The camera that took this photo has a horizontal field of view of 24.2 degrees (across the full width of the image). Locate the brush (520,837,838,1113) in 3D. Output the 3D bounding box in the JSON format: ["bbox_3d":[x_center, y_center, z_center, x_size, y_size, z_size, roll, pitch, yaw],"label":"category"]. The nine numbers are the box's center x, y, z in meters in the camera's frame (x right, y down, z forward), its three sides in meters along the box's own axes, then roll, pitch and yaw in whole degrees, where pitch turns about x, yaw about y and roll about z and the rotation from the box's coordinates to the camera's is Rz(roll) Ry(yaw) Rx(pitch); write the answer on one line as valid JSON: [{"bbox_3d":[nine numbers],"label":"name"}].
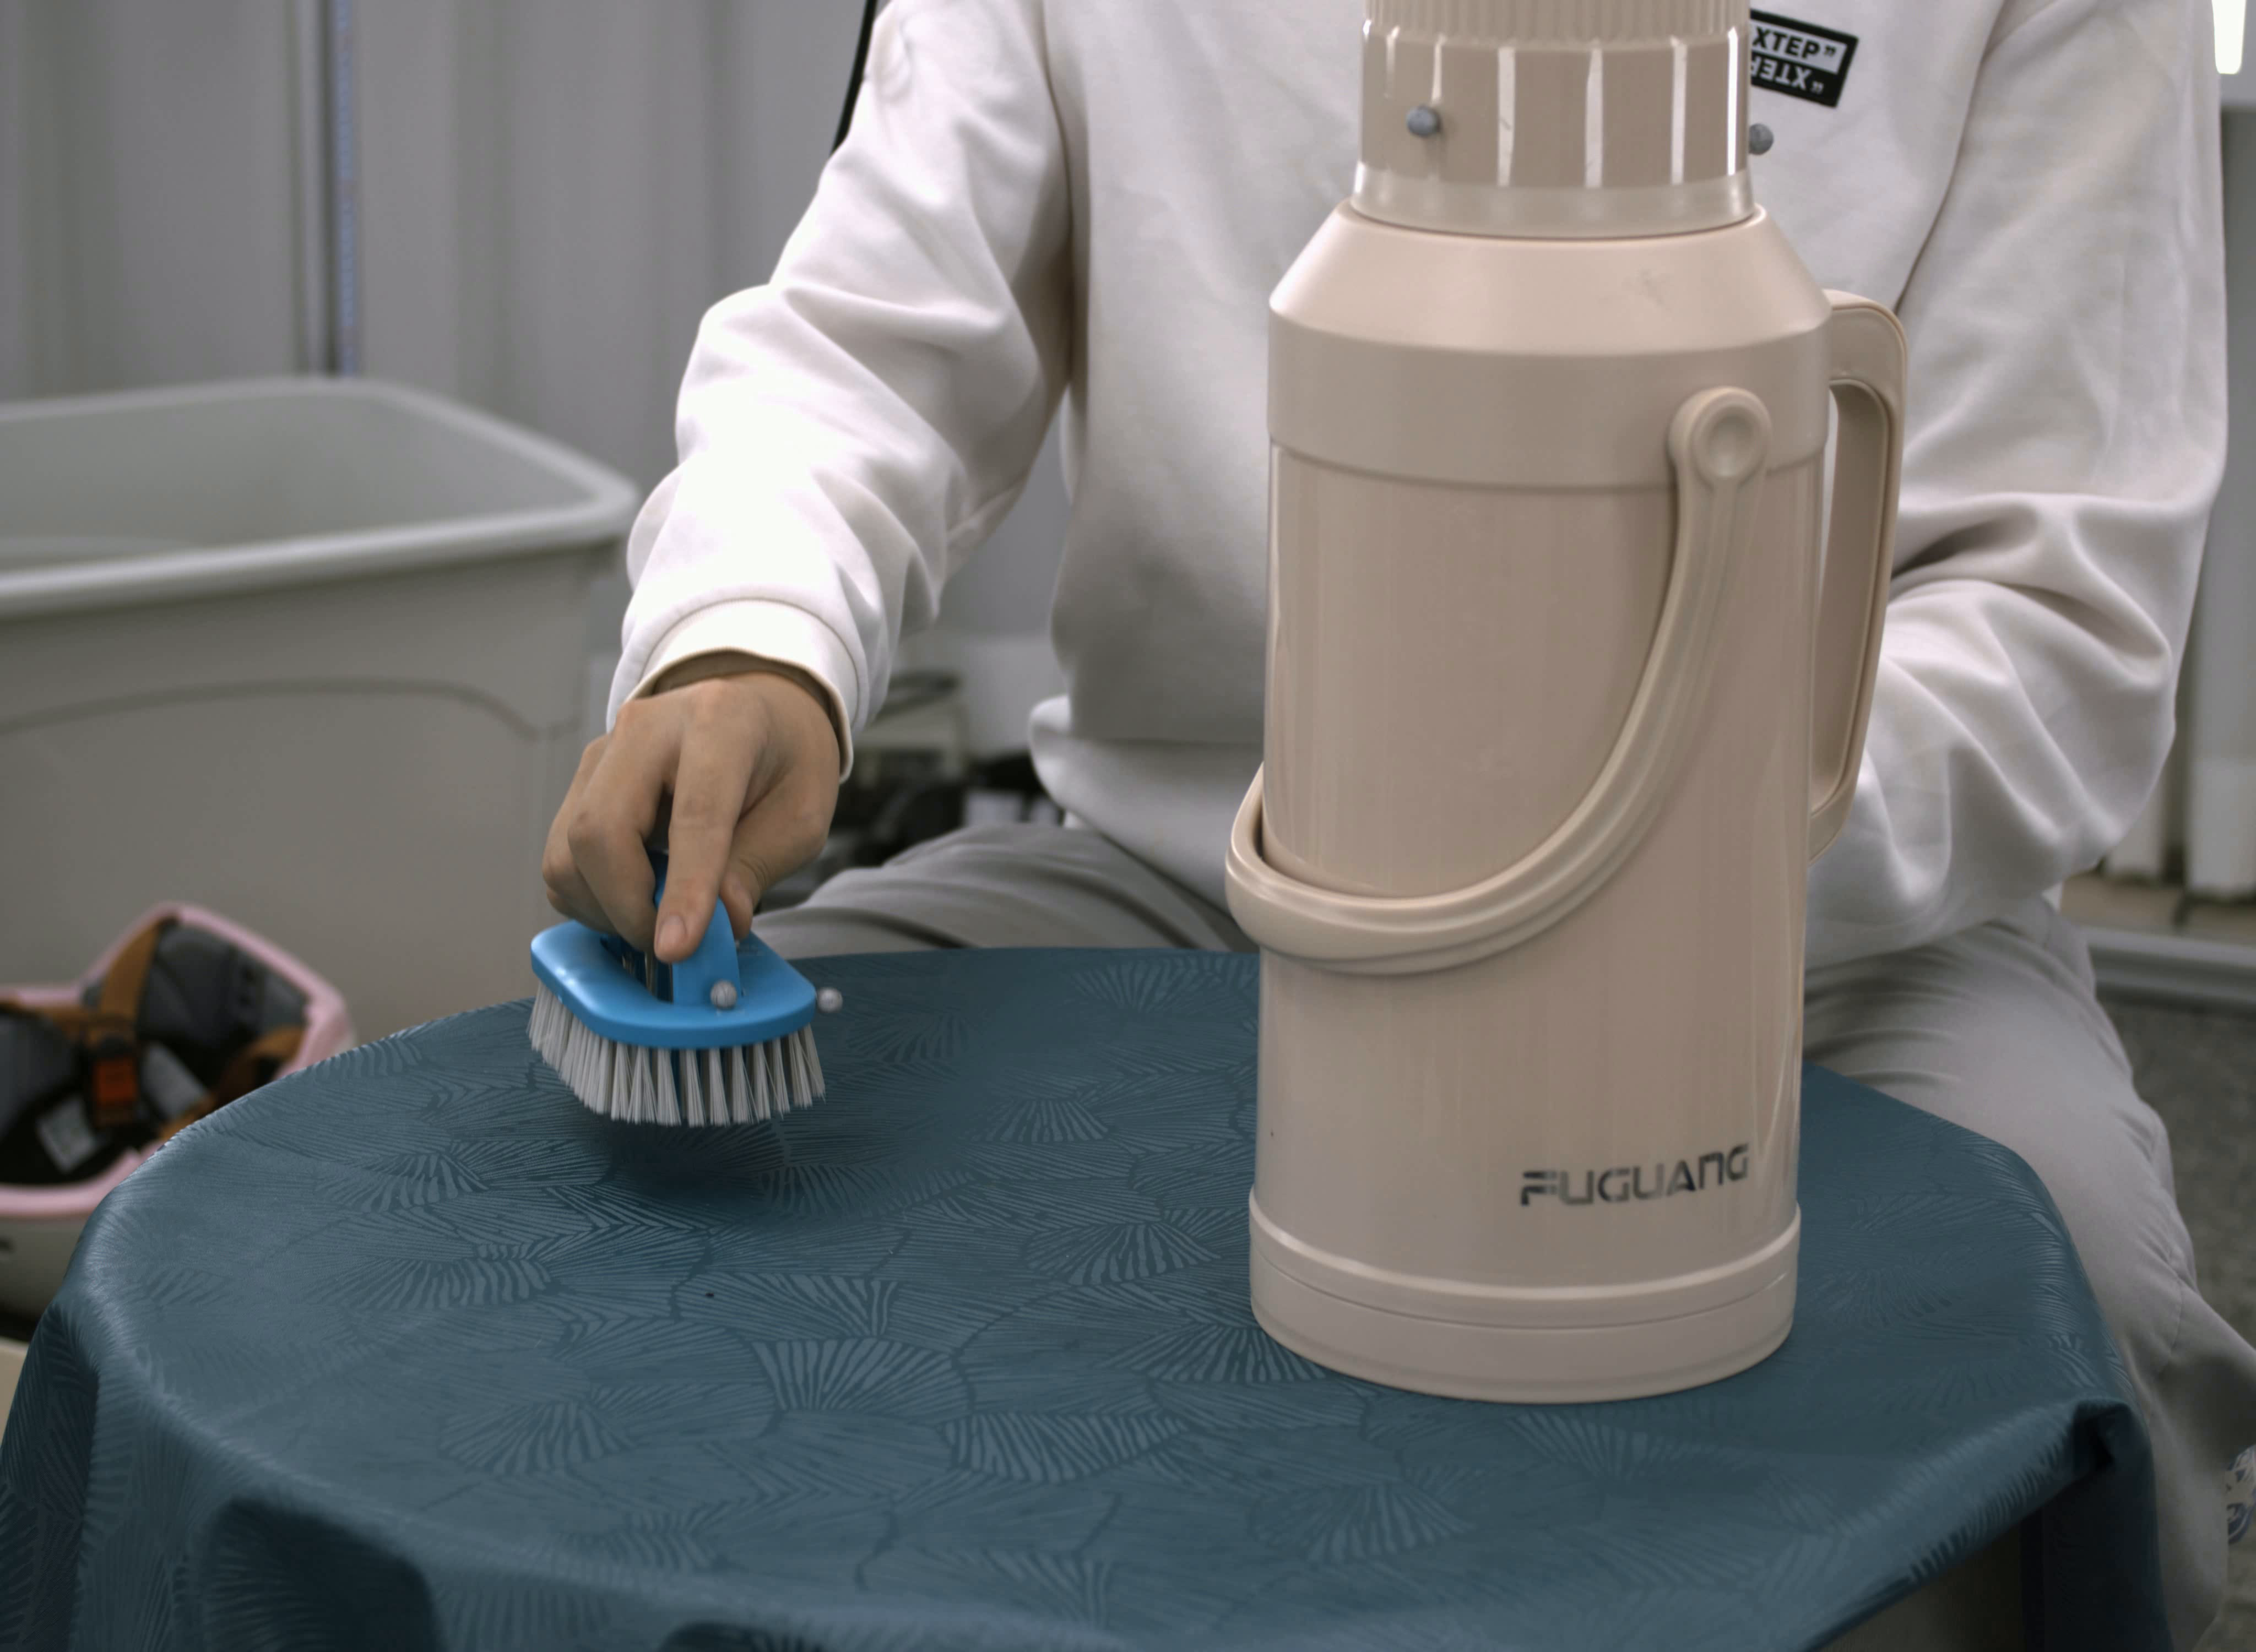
[{"bbox_3d":[-0.144,0.041,1.655,0.084,0.064,0.140,-9,16,-18],"label":"brush"}]

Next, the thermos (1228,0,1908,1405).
[{"bbox_3d":[0.129,-0.053,1.486,0.208,0.409,0.173,-9,17,-30],"label":"thermos"}]
